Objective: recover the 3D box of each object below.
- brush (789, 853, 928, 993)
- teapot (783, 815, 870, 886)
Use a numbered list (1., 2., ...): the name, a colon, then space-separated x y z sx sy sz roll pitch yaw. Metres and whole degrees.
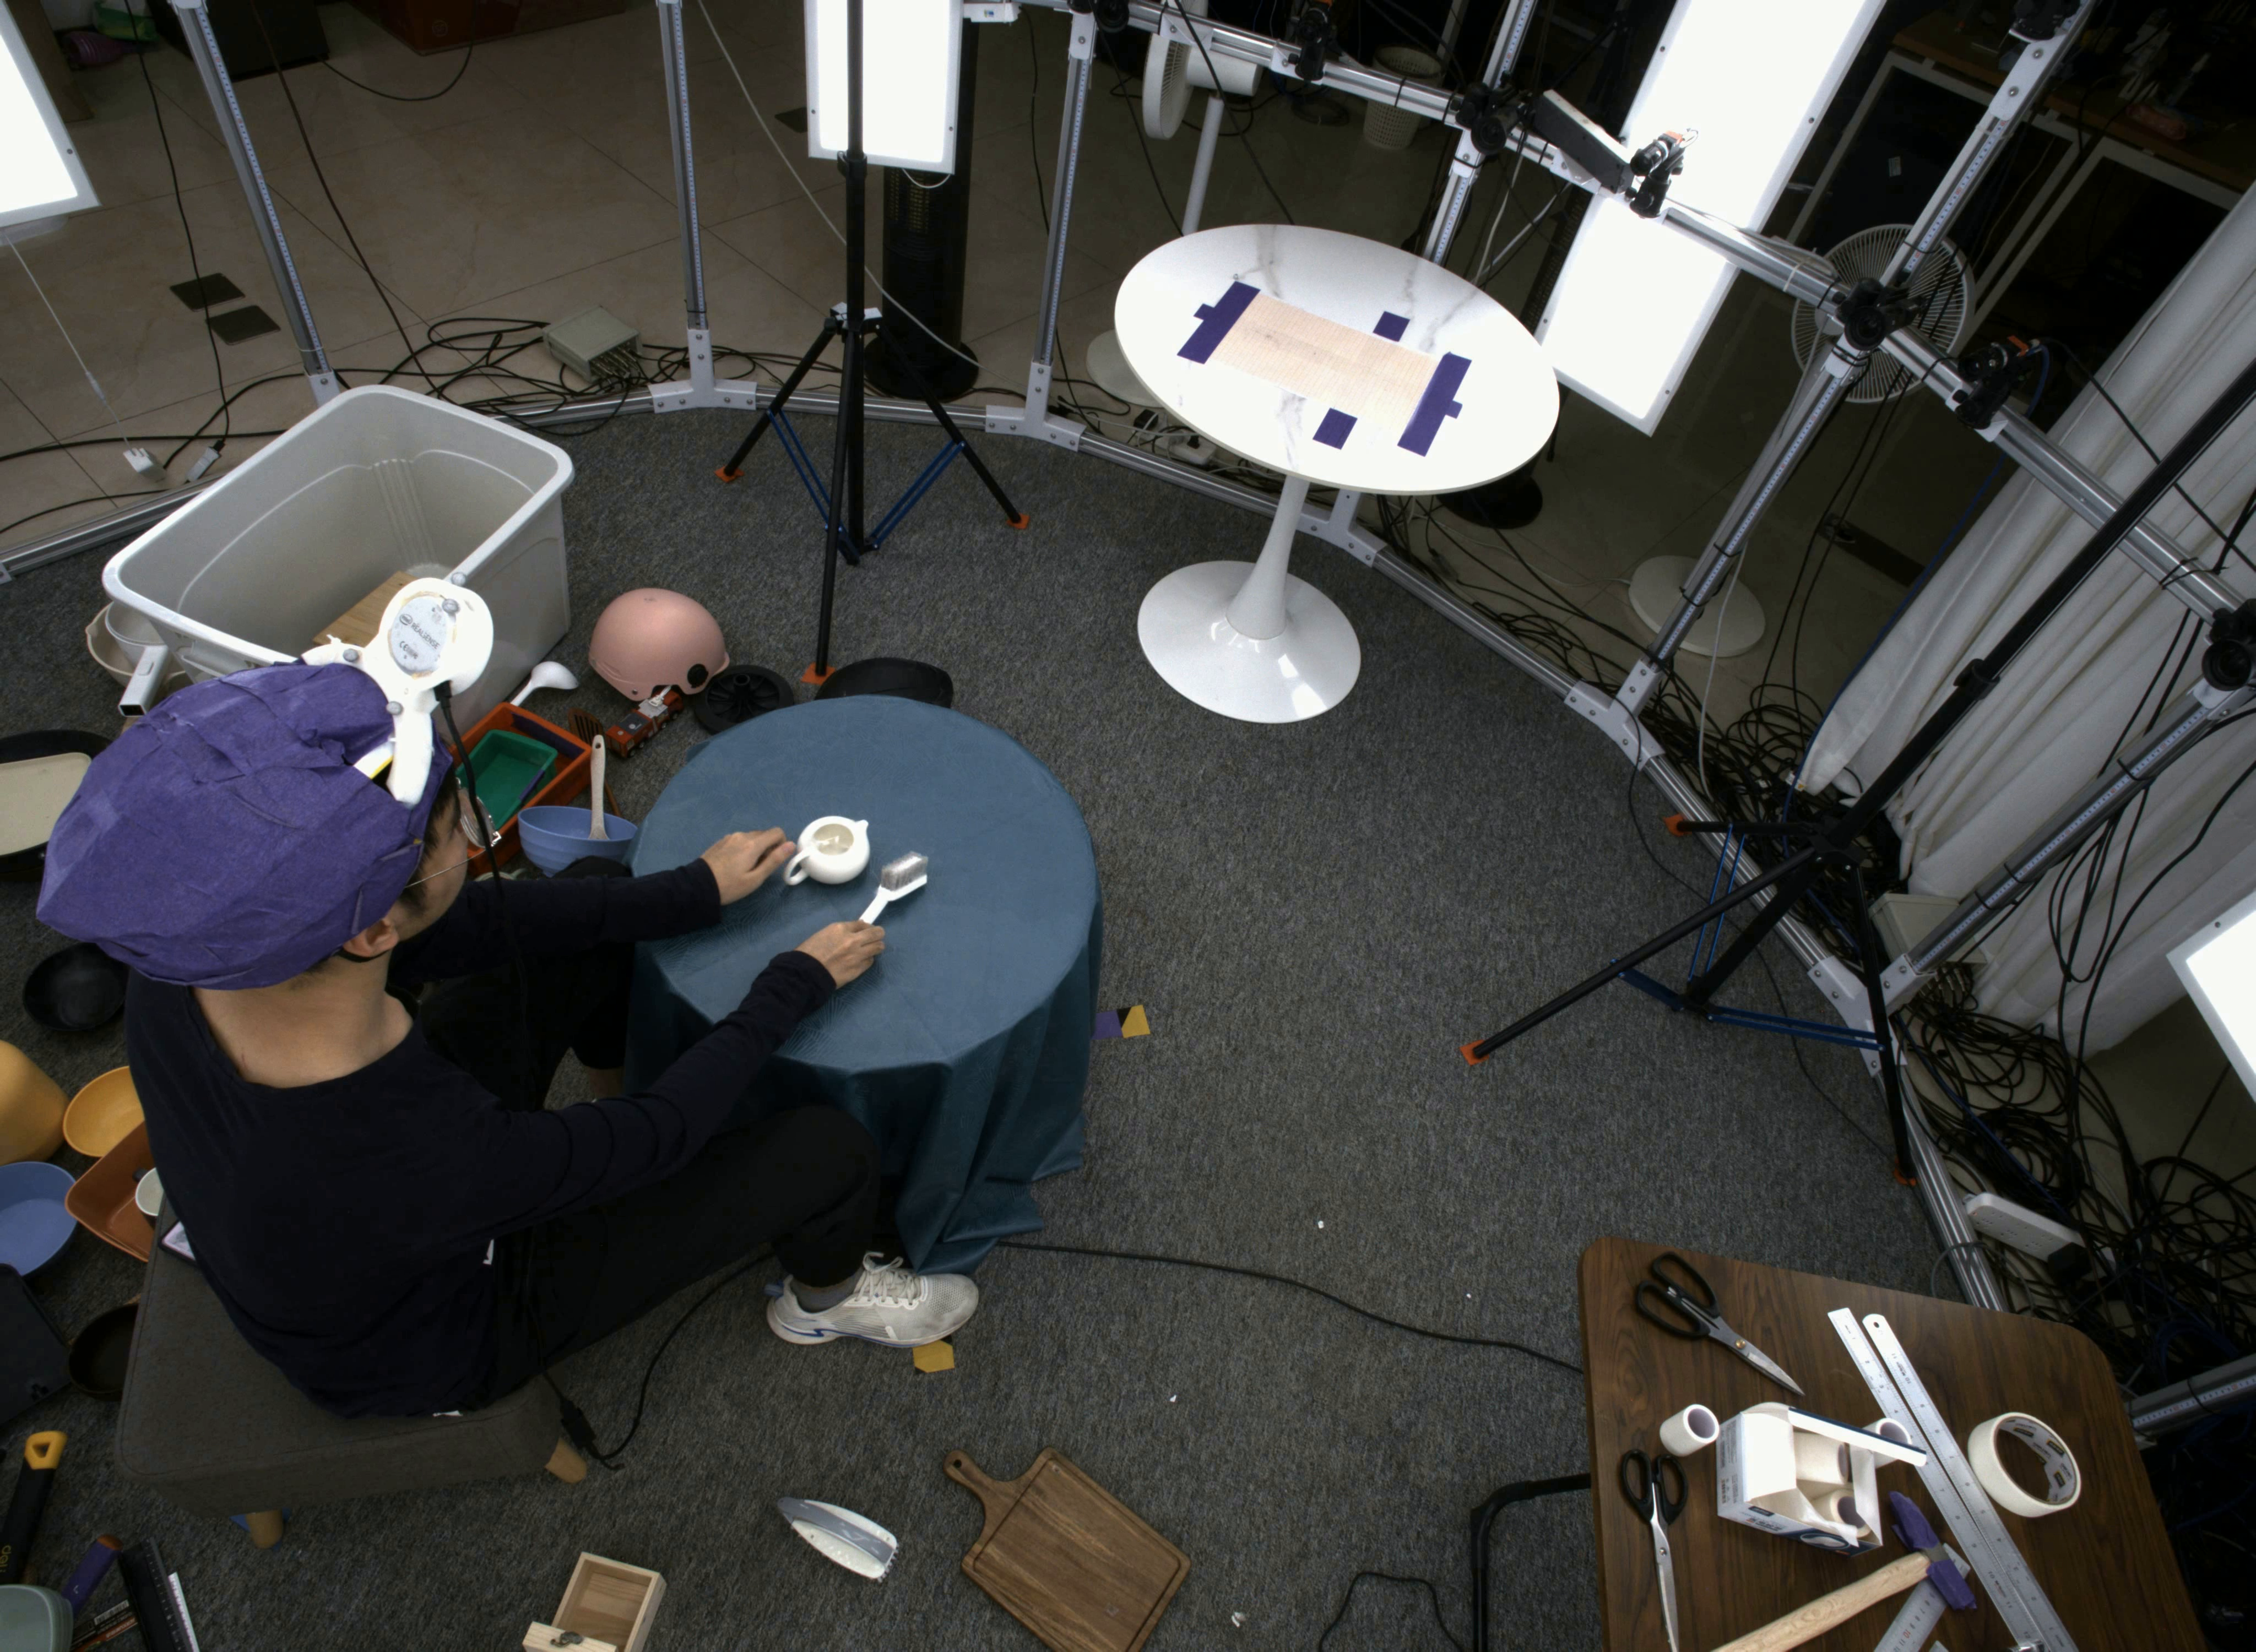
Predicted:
1. brush: -0.338 0.114 1.628 0.033 0.052 0.243 26 51 26
2. teapot: -0.389 0.035 1.674 0.127 0.057 0.092 -36 74 -30
